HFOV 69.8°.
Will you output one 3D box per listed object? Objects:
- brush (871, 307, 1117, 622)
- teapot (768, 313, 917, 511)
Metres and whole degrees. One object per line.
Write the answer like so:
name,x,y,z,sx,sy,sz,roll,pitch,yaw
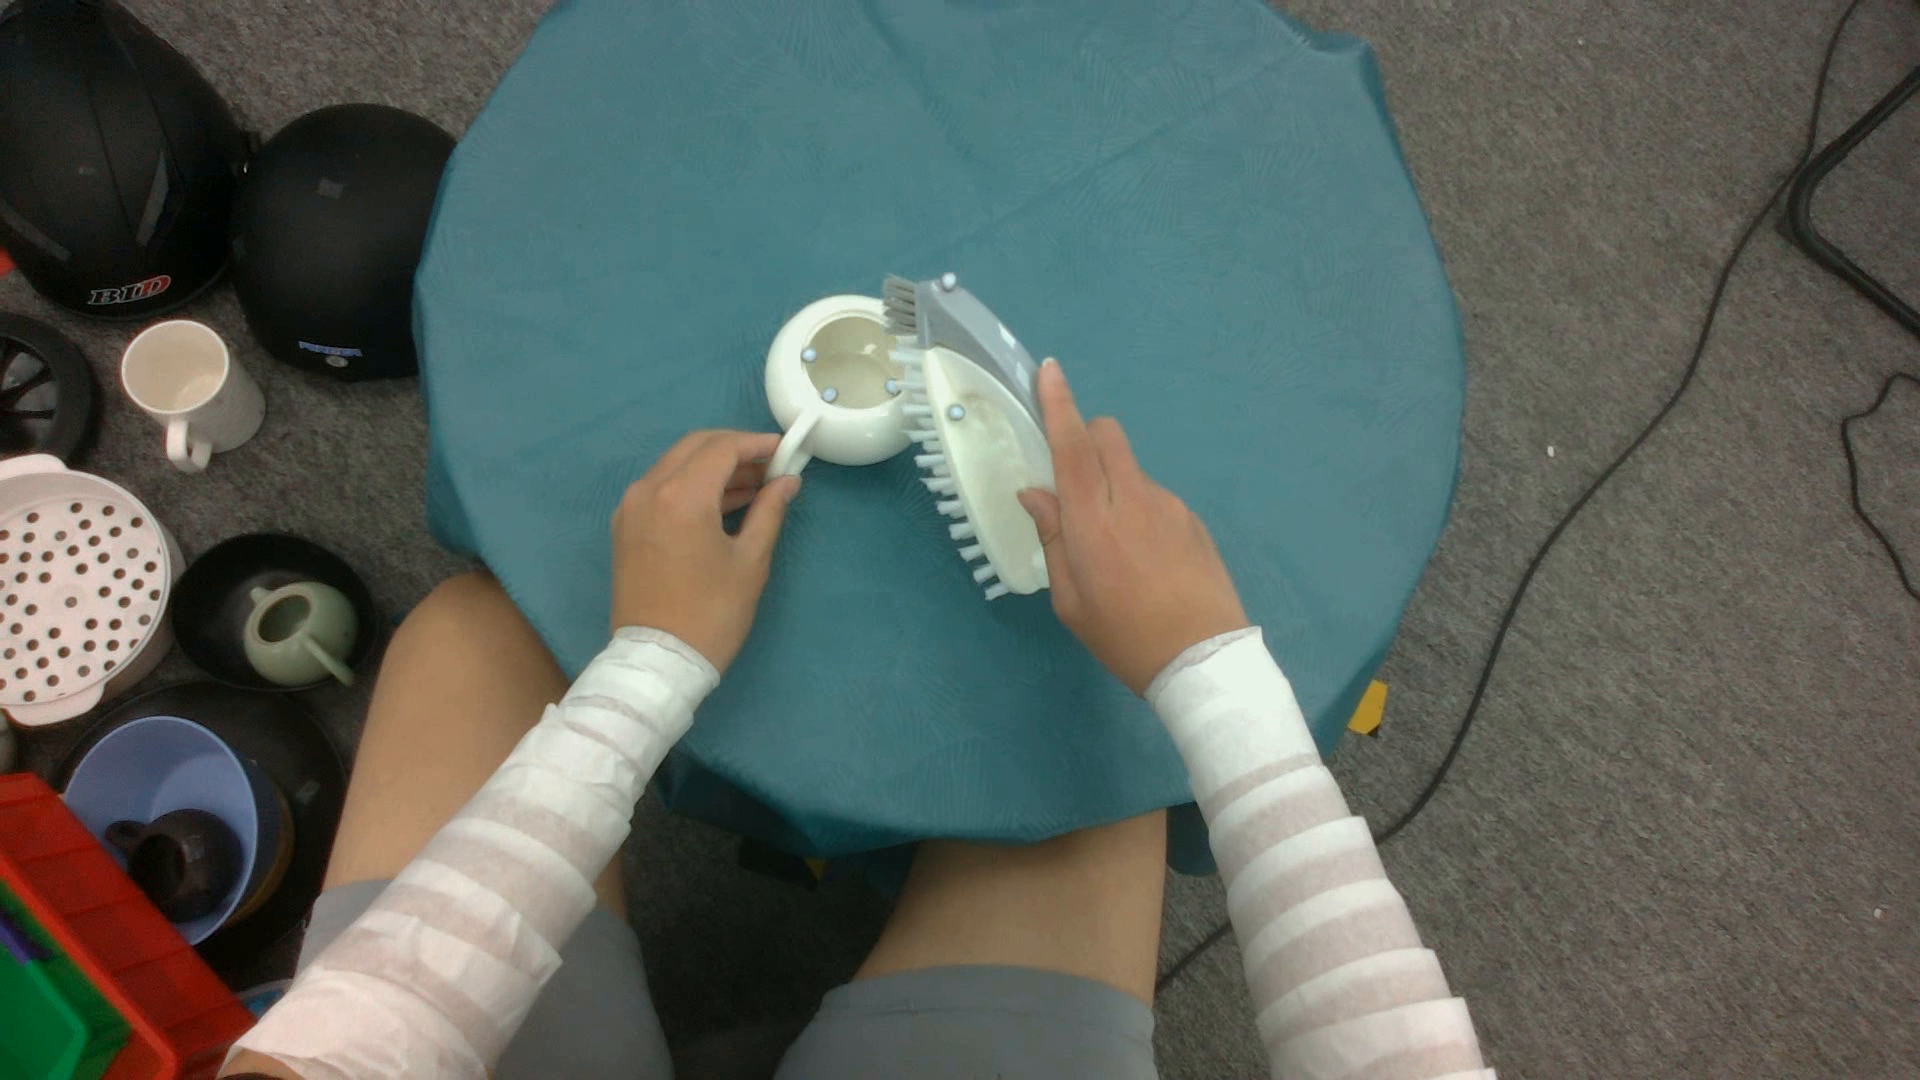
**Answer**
brush,0.021,-0.045,0.696,0.062,0.094,0.175,-38,106,-37
teapot,-0.063,-0.068,0.750,0.093,0.056,0.127,32,71,-1
